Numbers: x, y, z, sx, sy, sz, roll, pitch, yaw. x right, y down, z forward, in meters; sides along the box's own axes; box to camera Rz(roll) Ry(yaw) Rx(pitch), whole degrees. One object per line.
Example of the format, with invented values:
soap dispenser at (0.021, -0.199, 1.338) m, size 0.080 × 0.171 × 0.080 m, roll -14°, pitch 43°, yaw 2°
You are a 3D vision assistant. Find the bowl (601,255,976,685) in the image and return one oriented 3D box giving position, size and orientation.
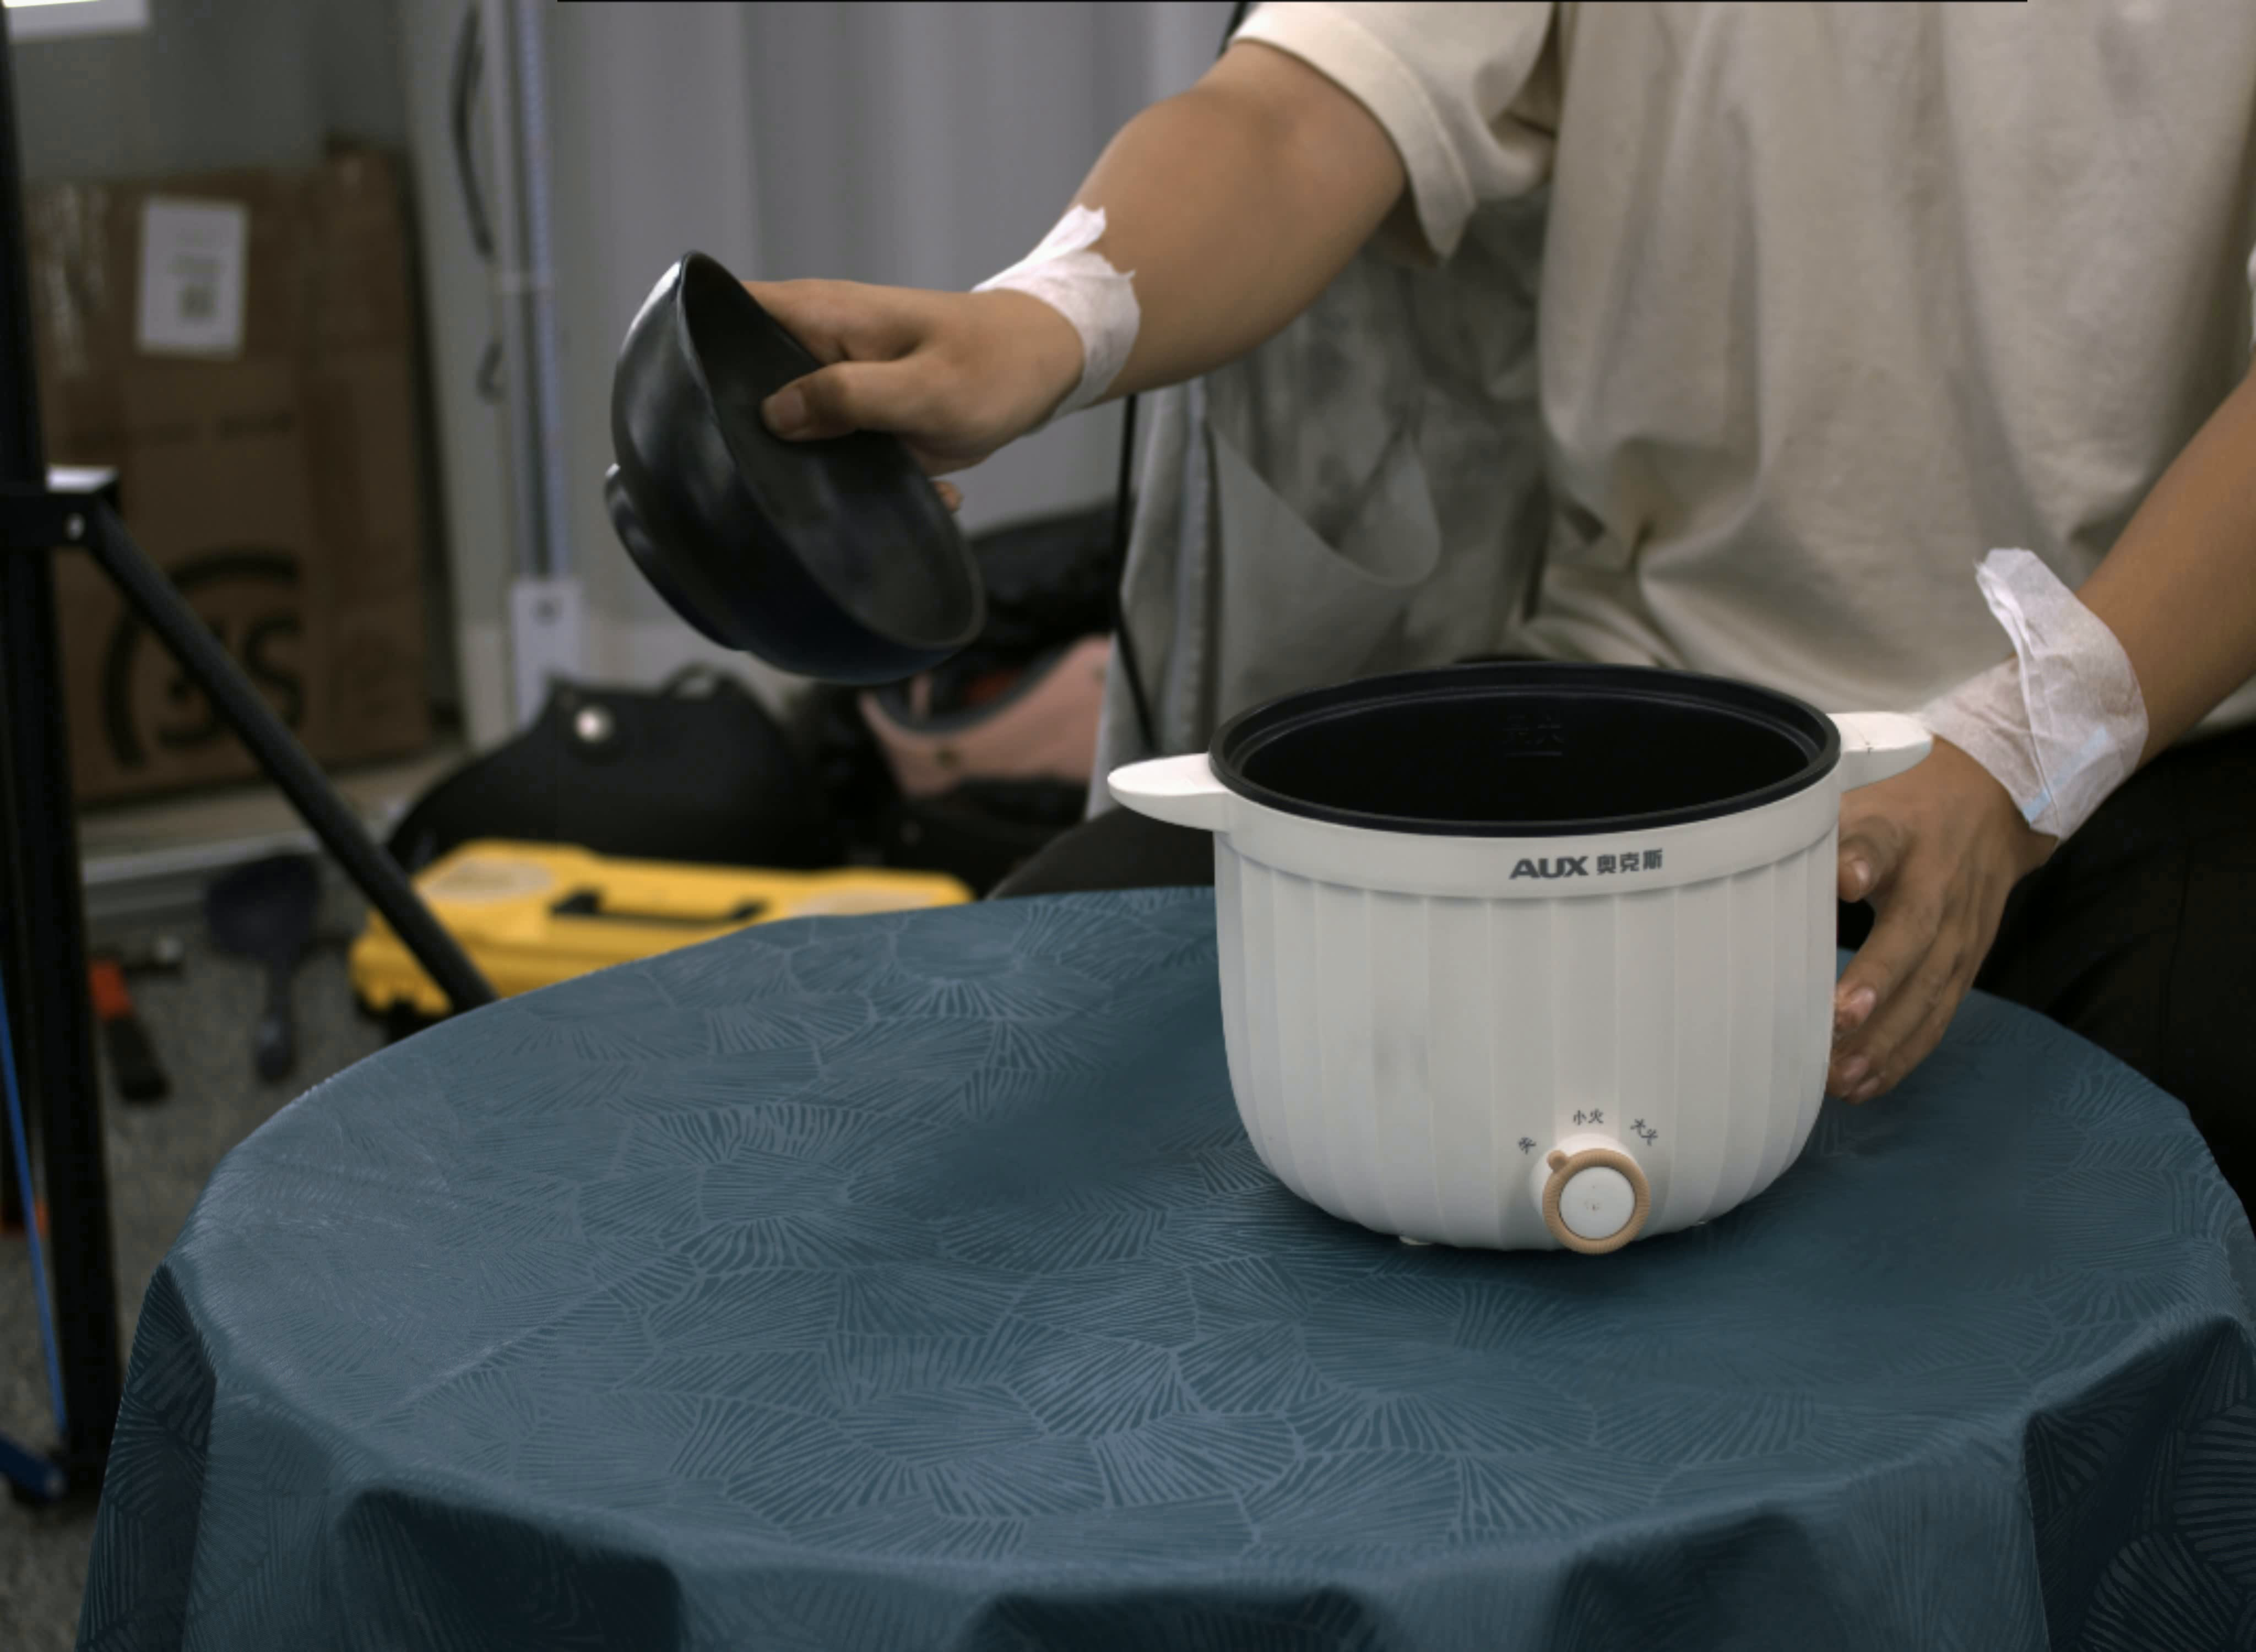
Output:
bowl at (-0.114, -0.097, 1.591) m, size 0.067 × 0.135 × 0.172 m, roll -36°, pitch 29°, yaw 16°

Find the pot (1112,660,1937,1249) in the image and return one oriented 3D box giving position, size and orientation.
pot at (0.118, 0.040, 1.524) m, size 0.238 × 0.143 × 0.192 m, roll -5°, pitch 12°, yaw -5°
